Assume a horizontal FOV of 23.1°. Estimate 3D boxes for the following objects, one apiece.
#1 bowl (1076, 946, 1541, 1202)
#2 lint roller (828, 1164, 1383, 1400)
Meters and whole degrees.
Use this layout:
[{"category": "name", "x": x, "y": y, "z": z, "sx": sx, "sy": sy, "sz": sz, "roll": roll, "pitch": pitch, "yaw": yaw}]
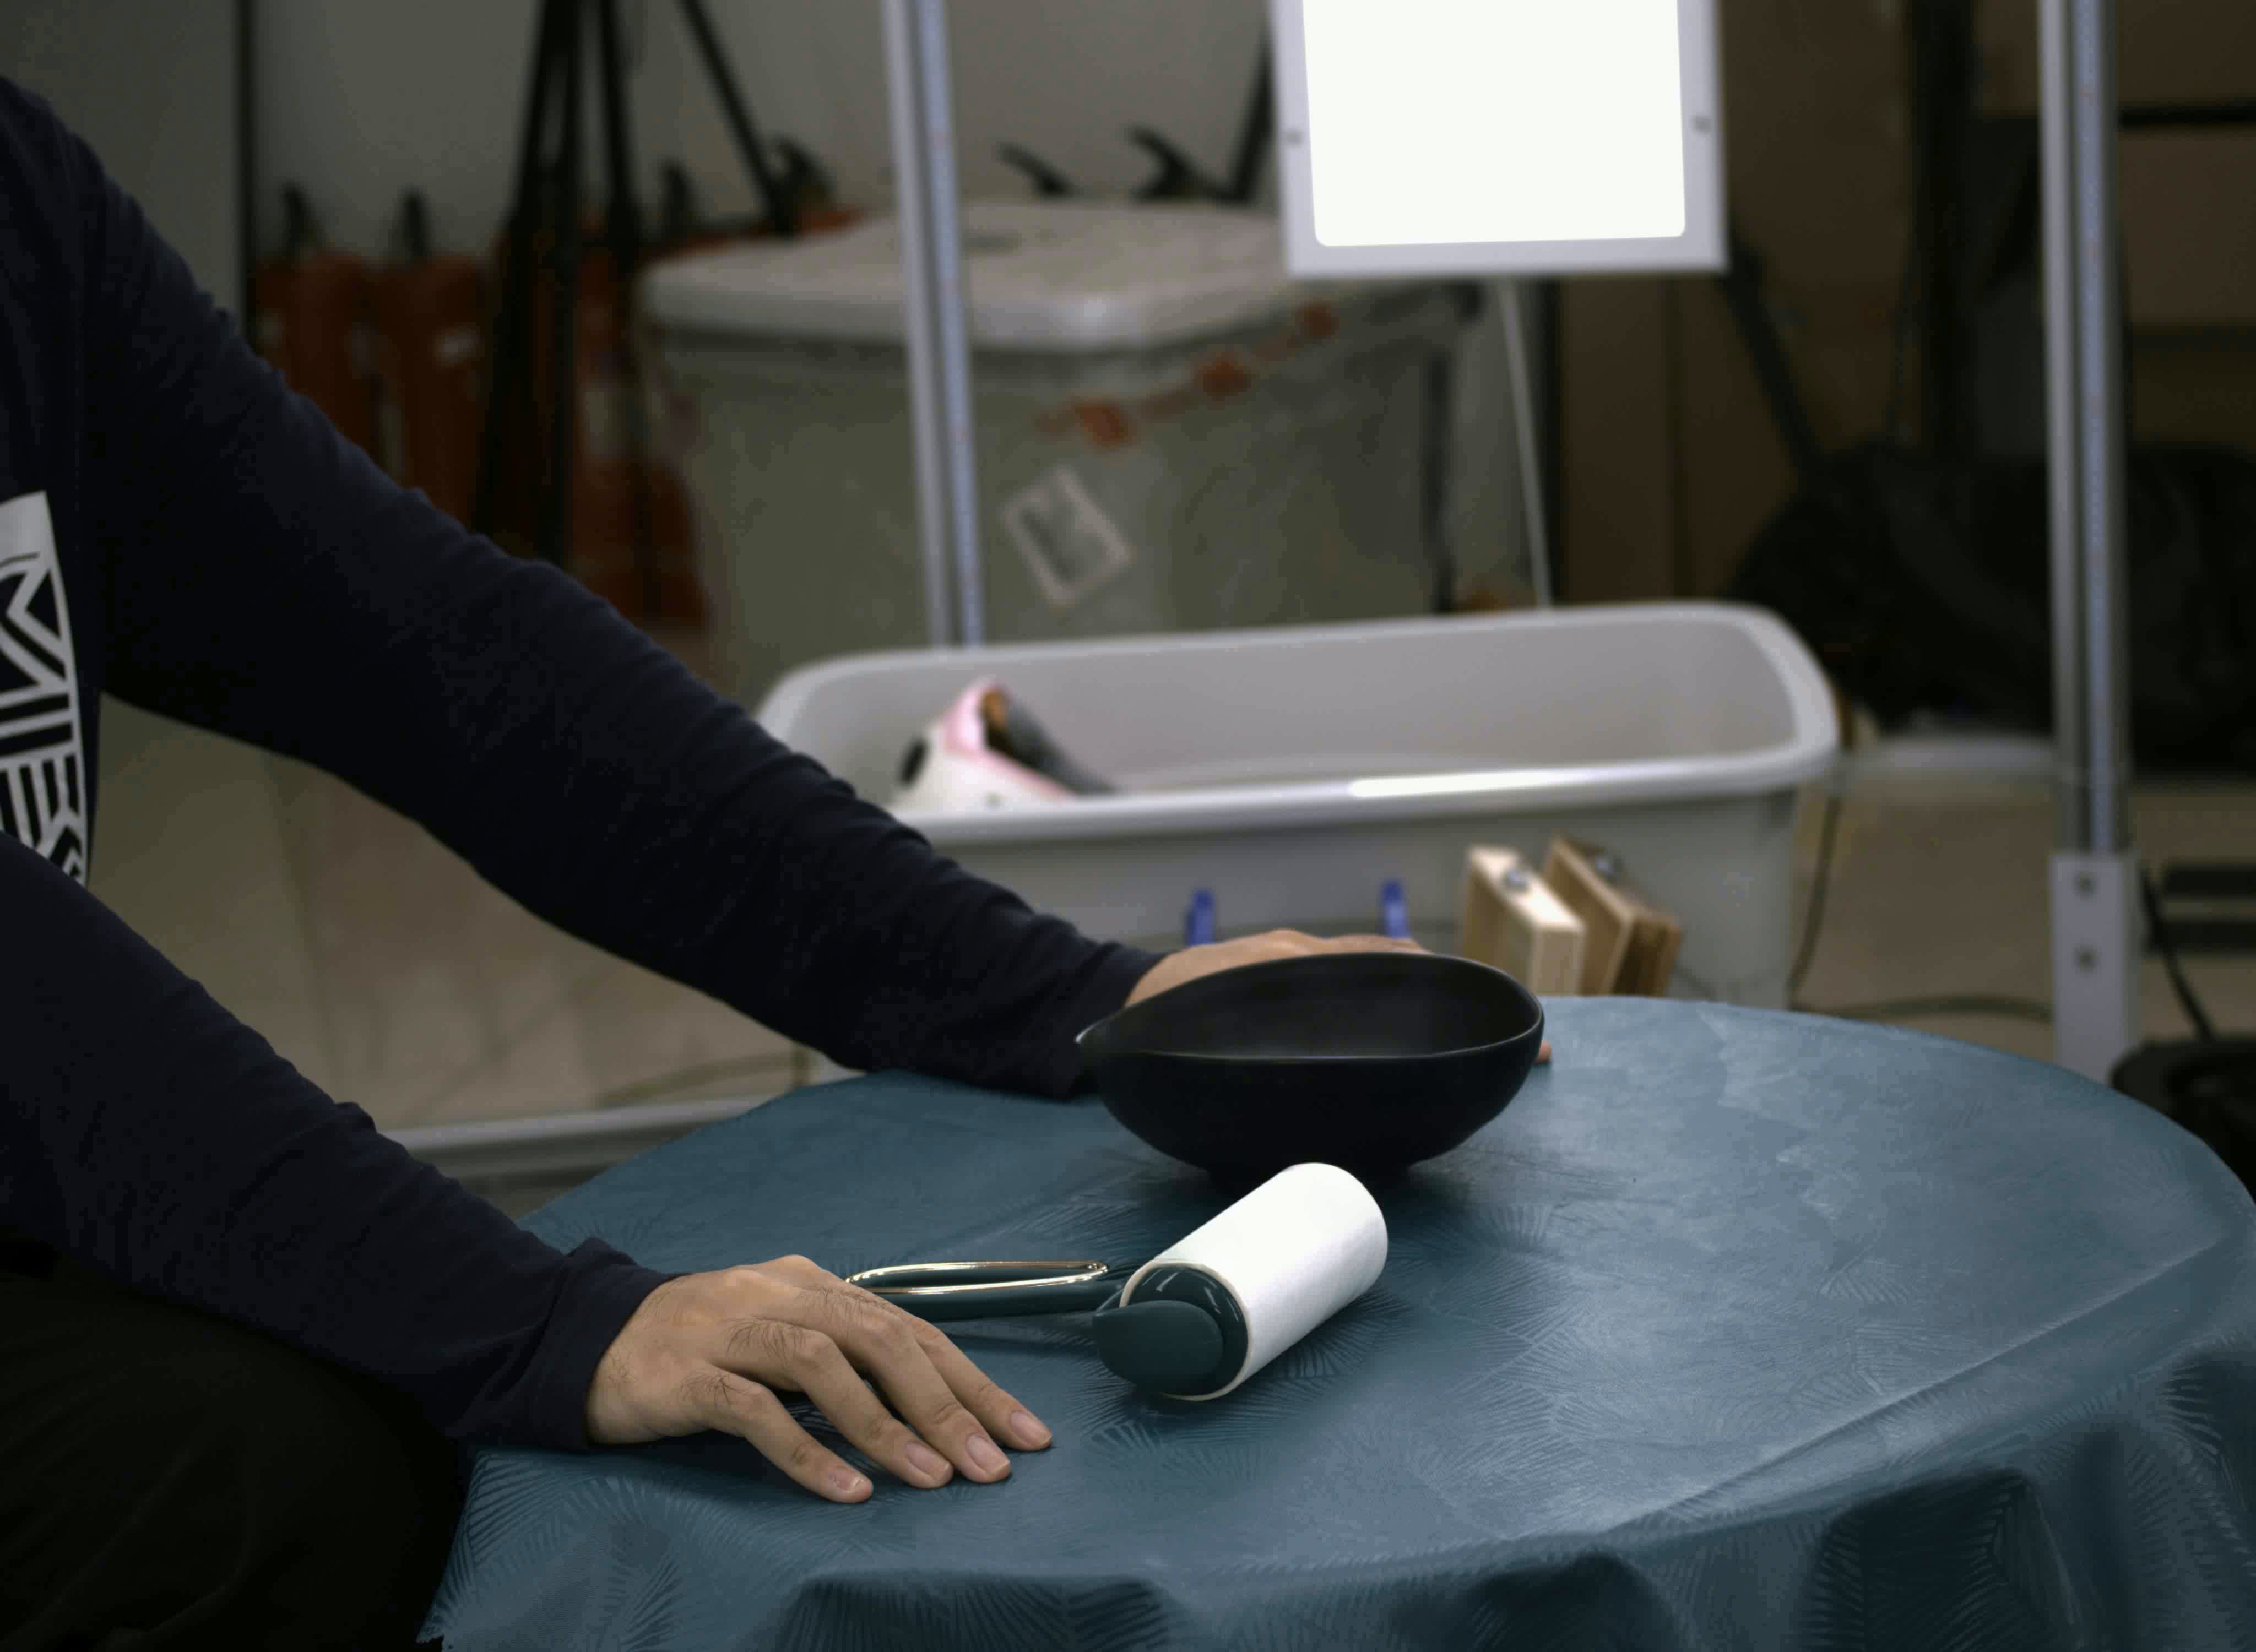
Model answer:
[{"category": "bowl", "x": 0.062, "y": 0.090, "z": 1.893, "sx": 0.173, "sy": 0.067, "sz": 0.134, "roll": 0, "pitch": 14, "yaw": 29}, {"category": "lint roller", "x": -0.019, "y": 0.143, "z": 1.758, "sx": 0.183, "sy": 0.048, "sz": 0.131, "roll": -1, "pitch": 14, "yaw": 29}]
